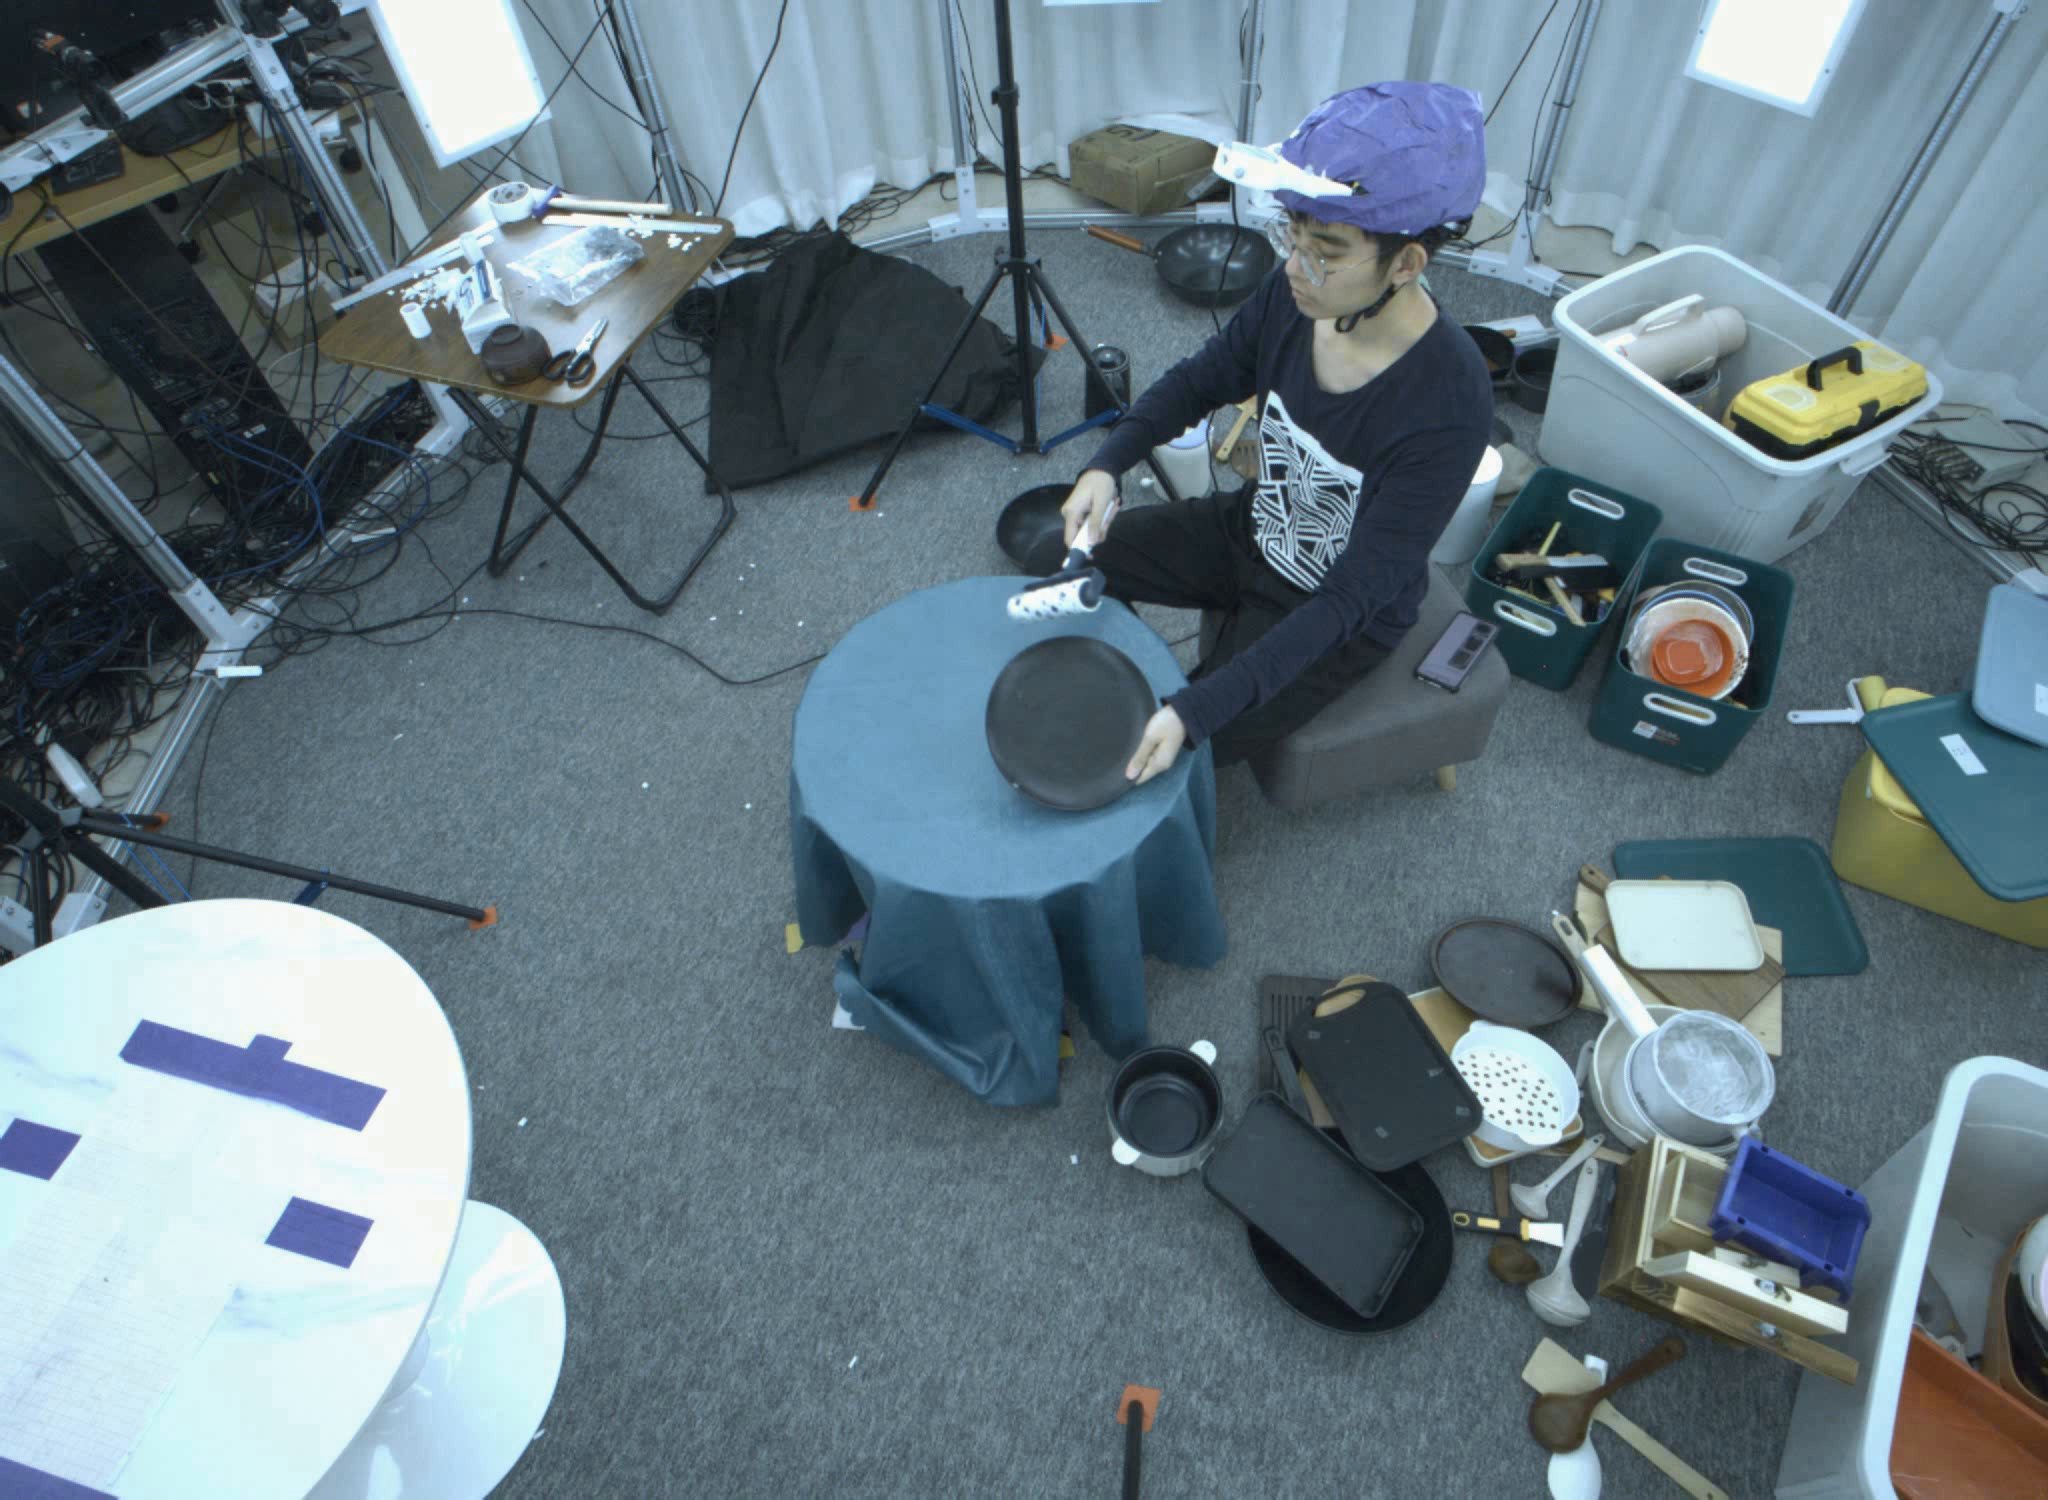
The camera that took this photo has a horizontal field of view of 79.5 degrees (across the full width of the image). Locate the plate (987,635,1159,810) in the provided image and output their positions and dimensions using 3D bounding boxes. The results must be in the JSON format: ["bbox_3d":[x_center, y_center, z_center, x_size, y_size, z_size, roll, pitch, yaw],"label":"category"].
[{"bbox_3d":[0.068,-0.038,1.721,0.246,0.023,0.244,0,90,-10],"label":"plate"}]

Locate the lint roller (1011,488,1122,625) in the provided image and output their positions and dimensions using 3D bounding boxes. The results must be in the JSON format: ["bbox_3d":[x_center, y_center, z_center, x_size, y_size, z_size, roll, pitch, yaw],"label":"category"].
[{"bbox_3d":[0.085,-0.299,1.830,0.173,0.051,0.247,-5,54,51],"label":"lint roller"}]
